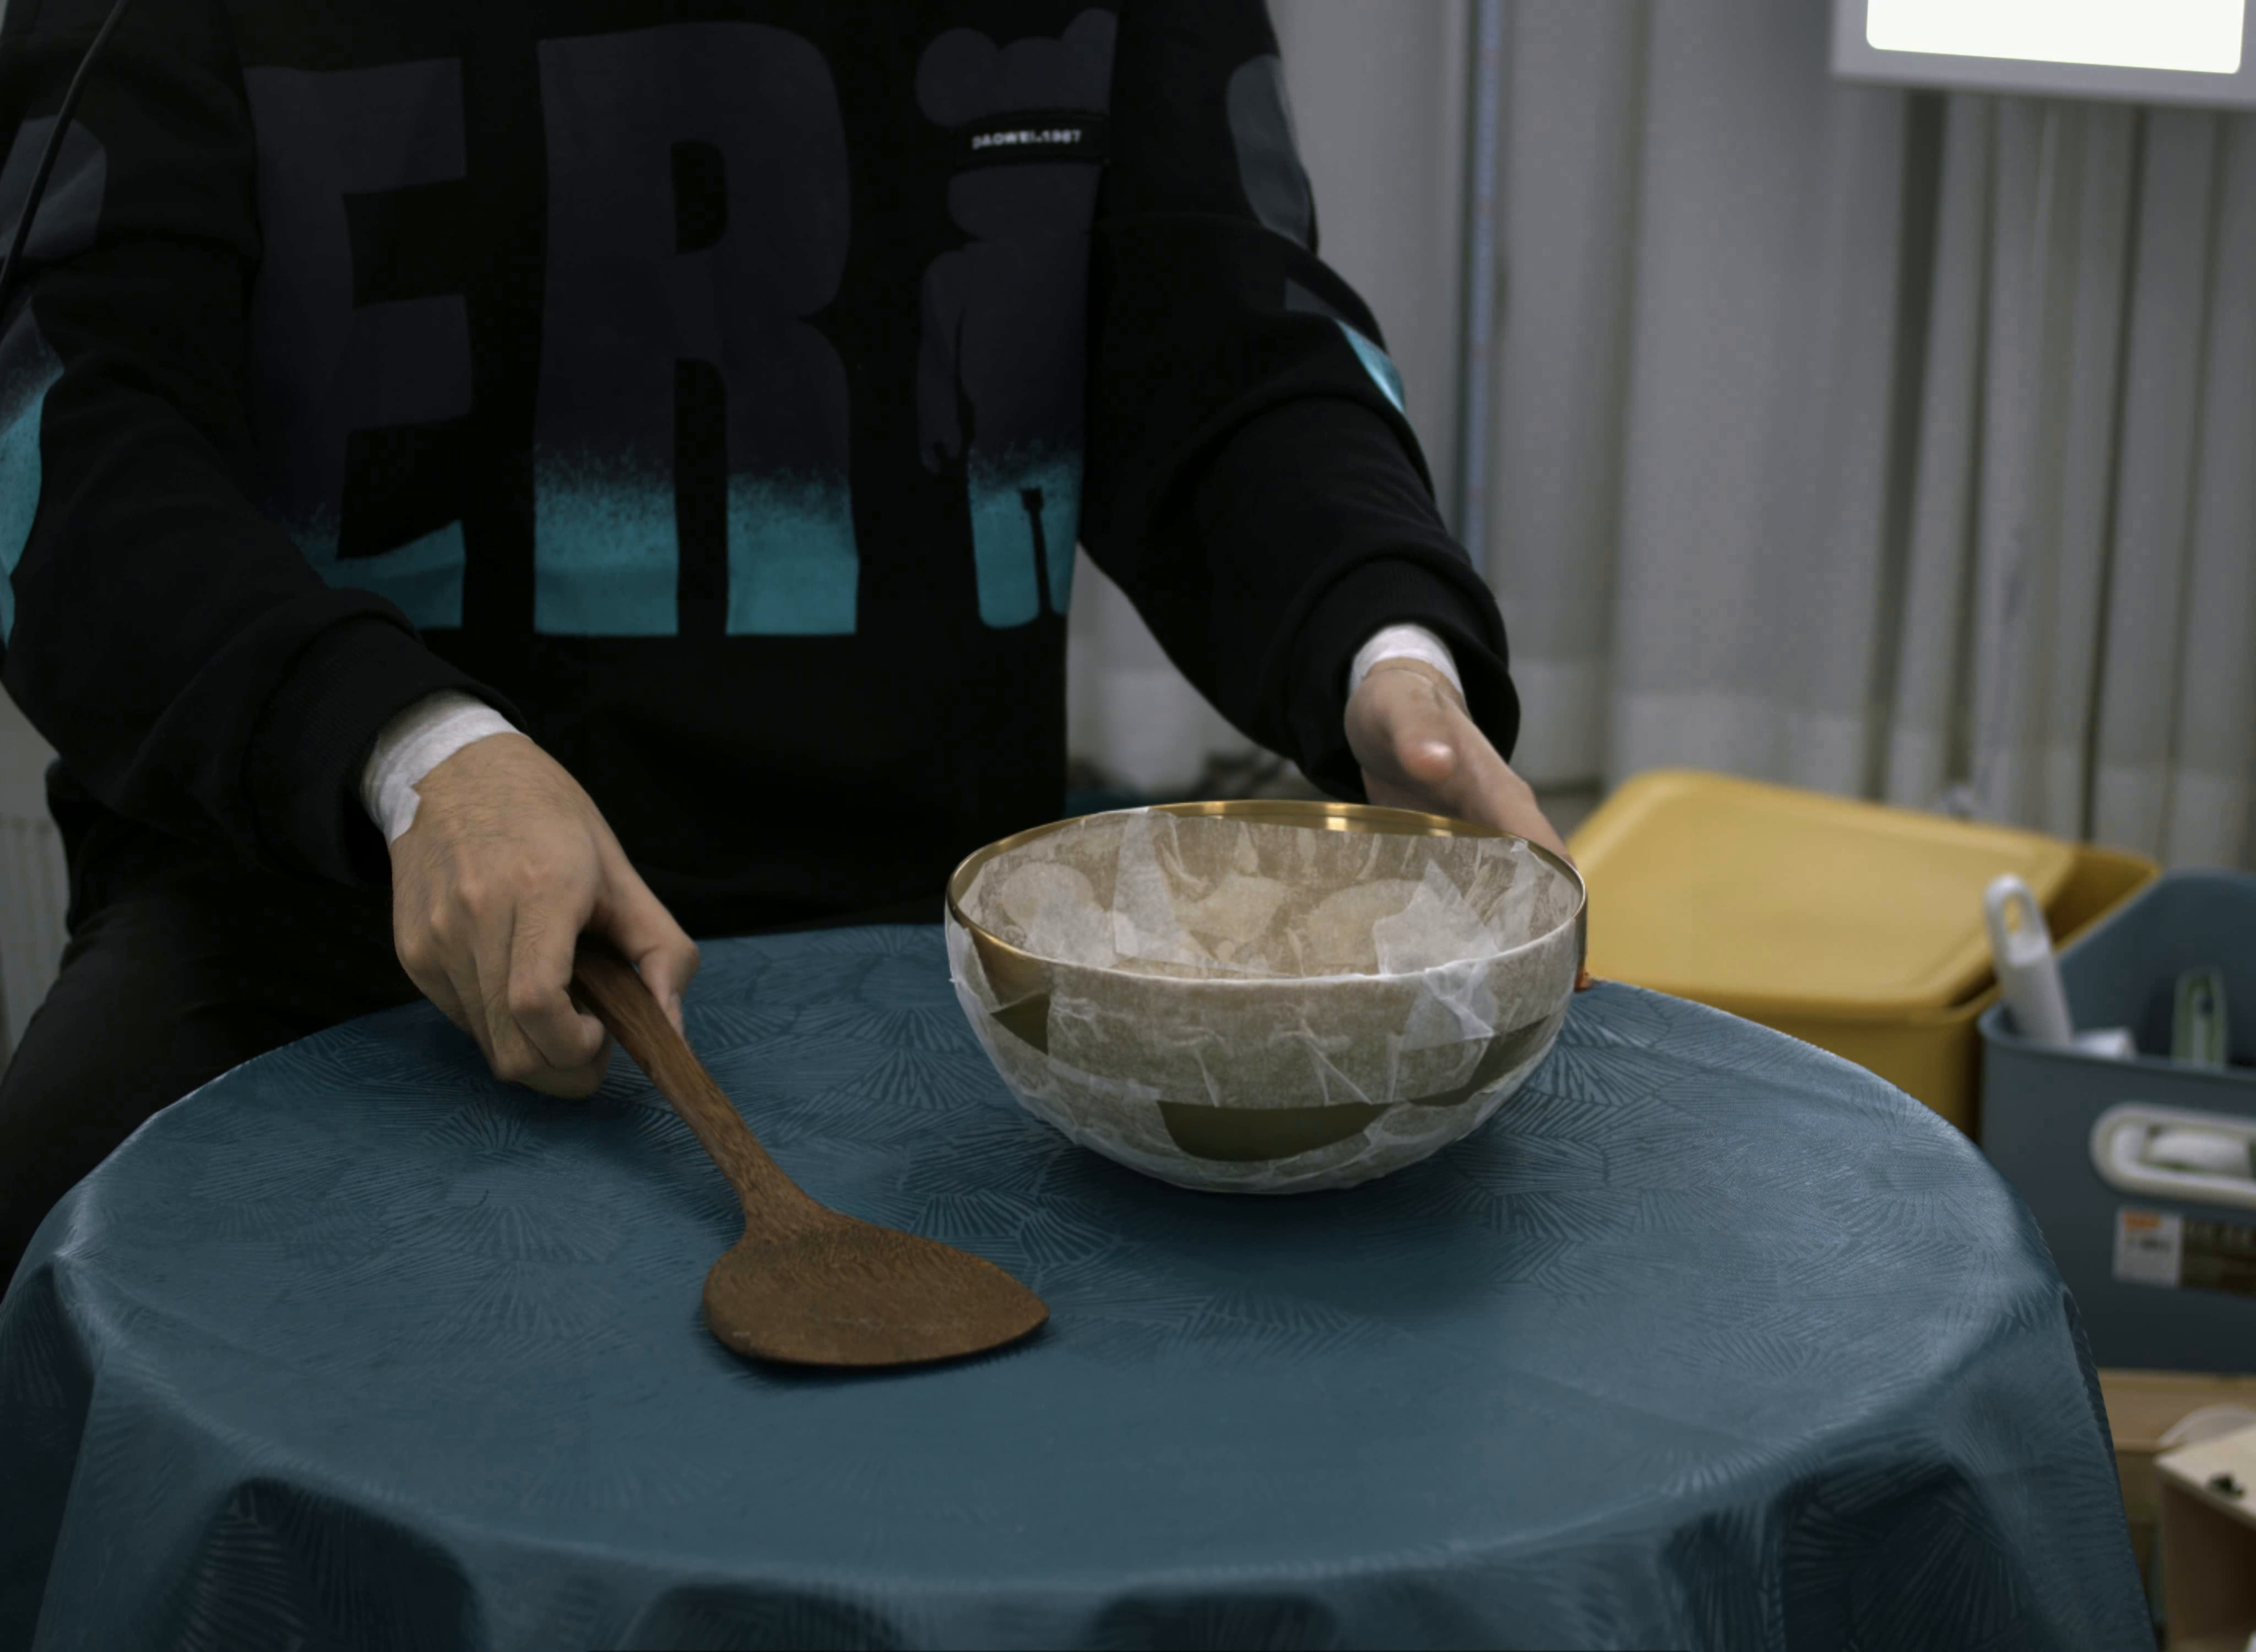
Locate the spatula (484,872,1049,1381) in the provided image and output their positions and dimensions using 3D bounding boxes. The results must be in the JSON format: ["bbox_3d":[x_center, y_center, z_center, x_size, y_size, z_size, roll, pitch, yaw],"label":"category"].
[{"bbox_3d":[-0.134,0.085,1.637,0.096,0.016,0.381,-6,24,-24],"label":"spatula"}]

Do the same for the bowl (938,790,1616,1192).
[{"bbox_3d":[0.045,0.059,1.644,0.214,0.095,0.213,-1,16,1],"label":"bowl"}]
